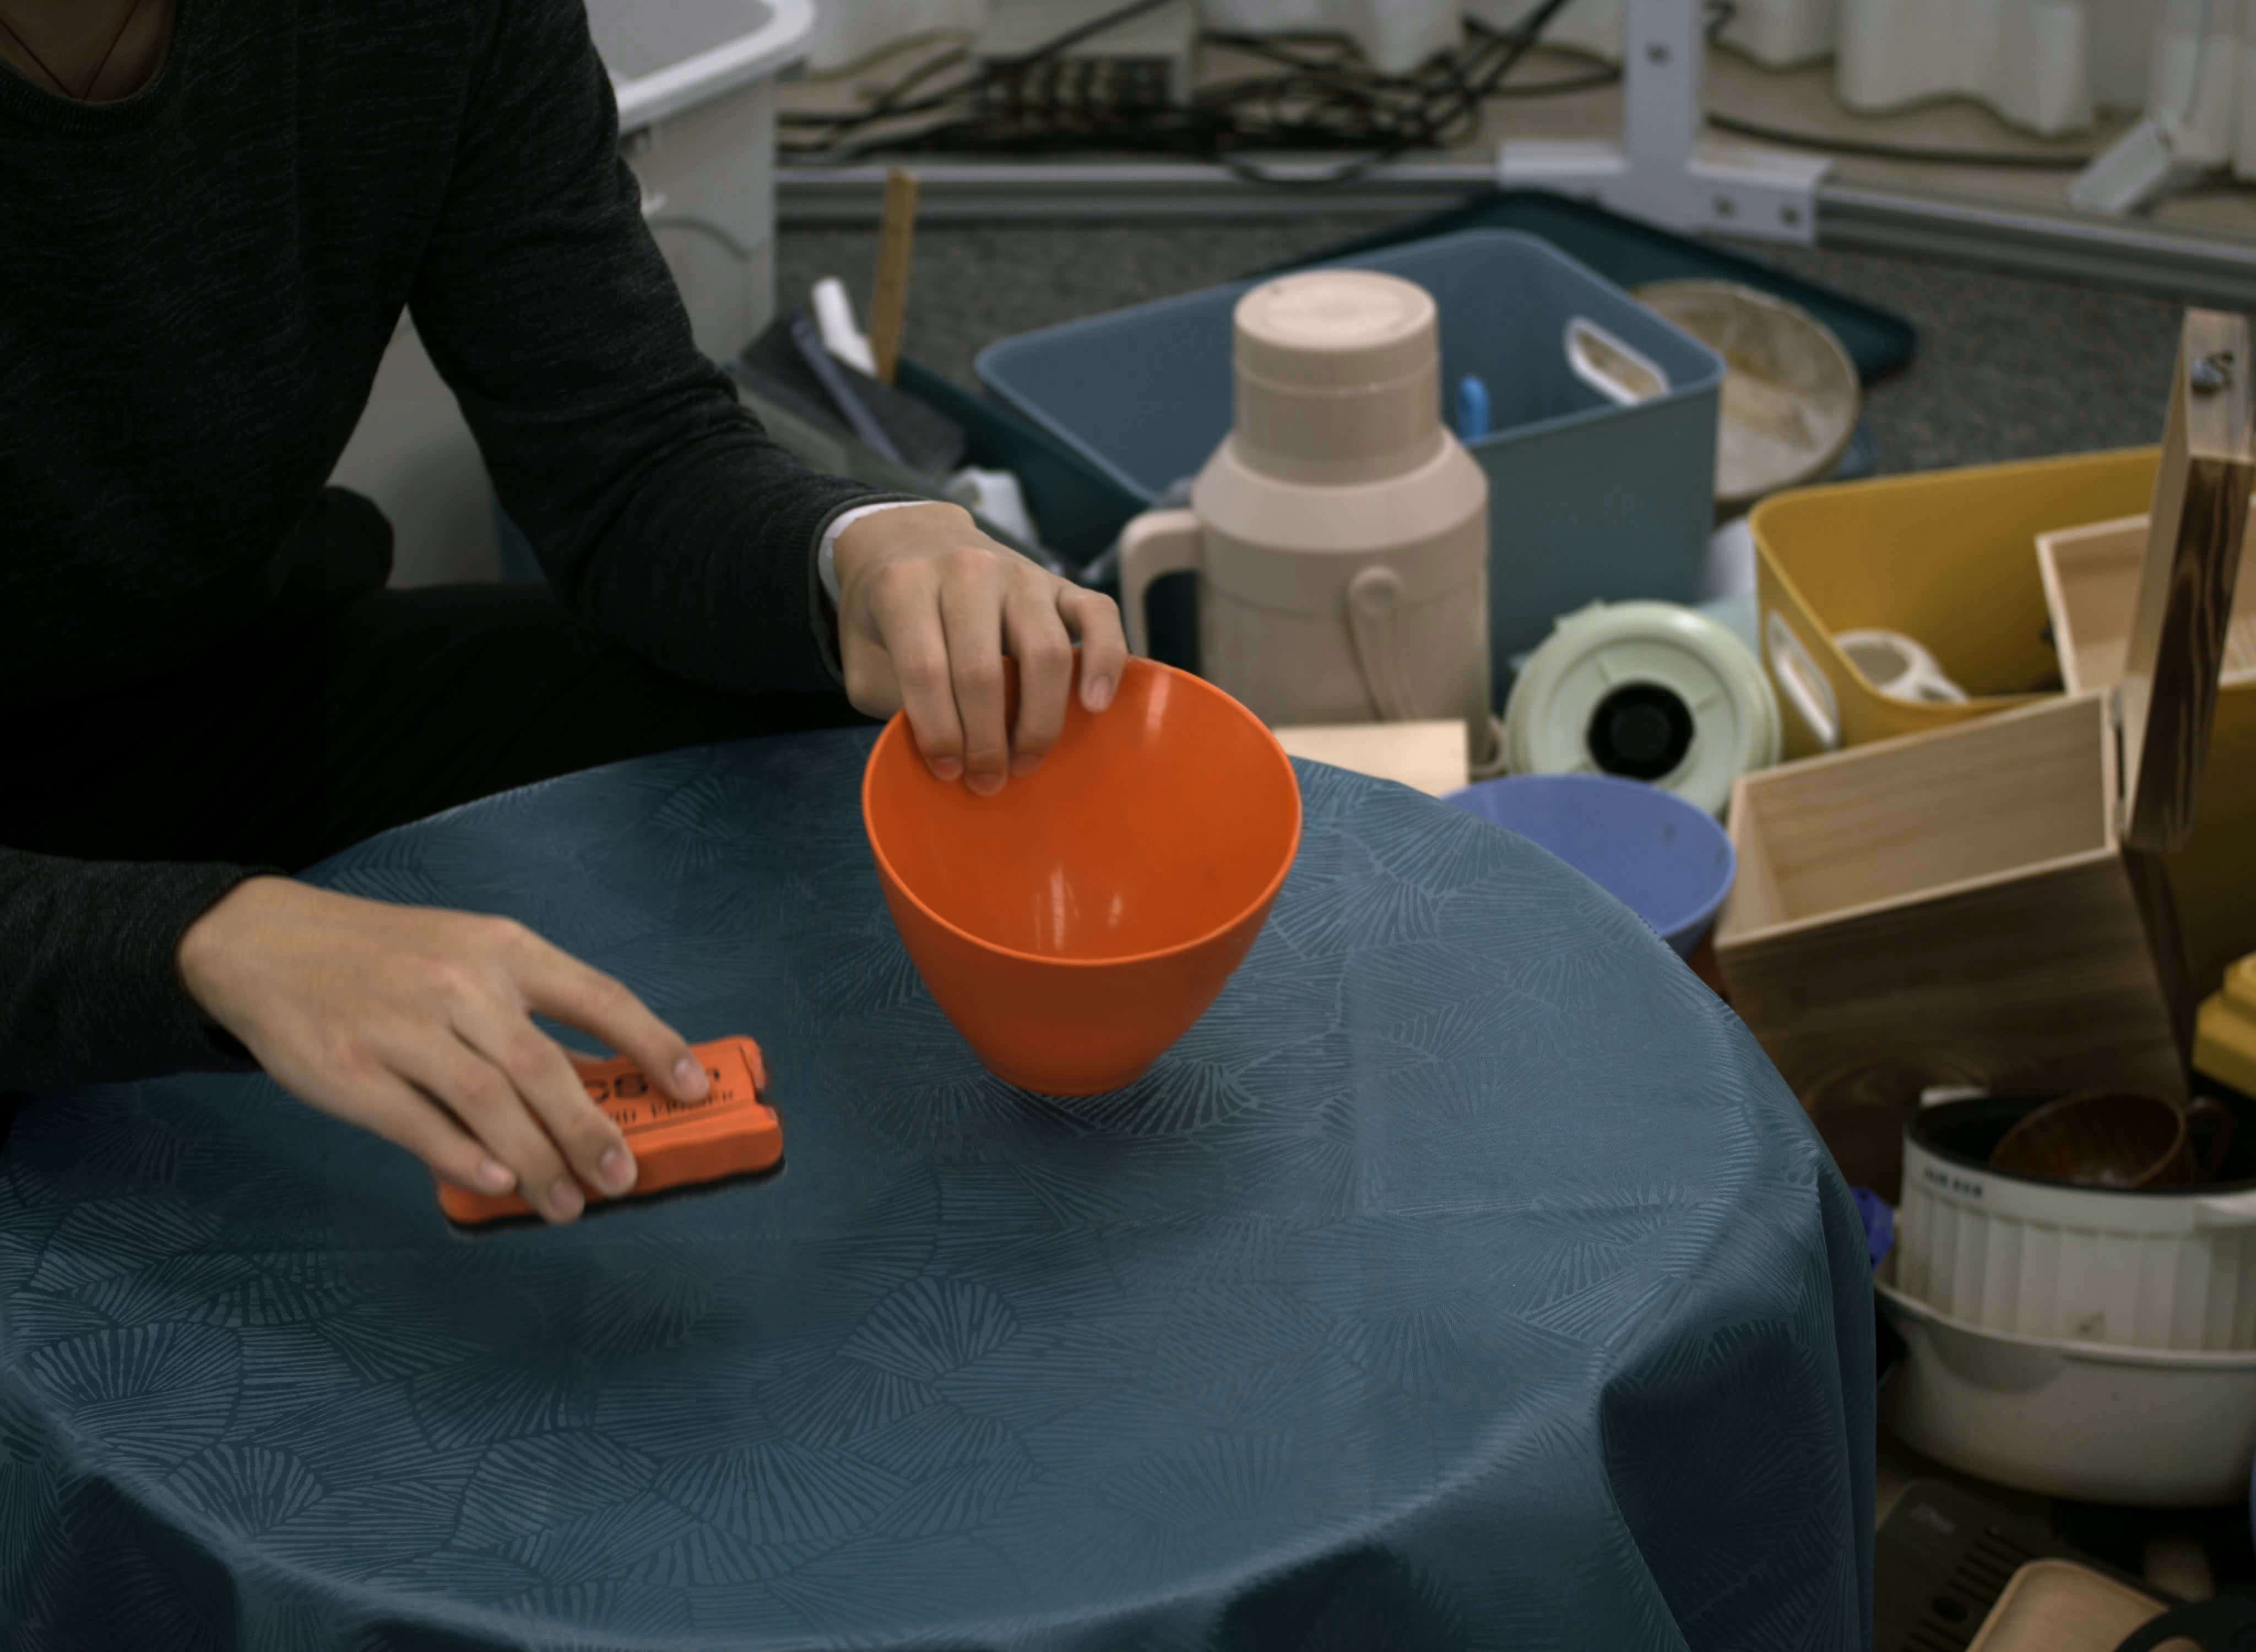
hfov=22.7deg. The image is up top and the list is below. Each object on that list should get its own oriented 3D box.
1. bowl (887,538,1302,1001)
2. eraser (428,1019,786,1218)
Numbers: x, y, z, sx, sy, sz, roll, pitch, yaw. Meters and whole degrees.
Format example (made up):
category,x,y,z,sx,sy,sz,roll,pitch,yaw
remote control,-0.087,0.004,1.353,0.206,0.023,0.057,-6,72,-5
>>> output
category,x,y,z,sx,sy,sz,roll,pitch,yaw
bowl,-0.025,-0.006,1.880,0.147,0.103,0.151,21,44,-22
eraser,-0.164,0.092,1.768,0.108,0.022,0.060,-10,31,-10
